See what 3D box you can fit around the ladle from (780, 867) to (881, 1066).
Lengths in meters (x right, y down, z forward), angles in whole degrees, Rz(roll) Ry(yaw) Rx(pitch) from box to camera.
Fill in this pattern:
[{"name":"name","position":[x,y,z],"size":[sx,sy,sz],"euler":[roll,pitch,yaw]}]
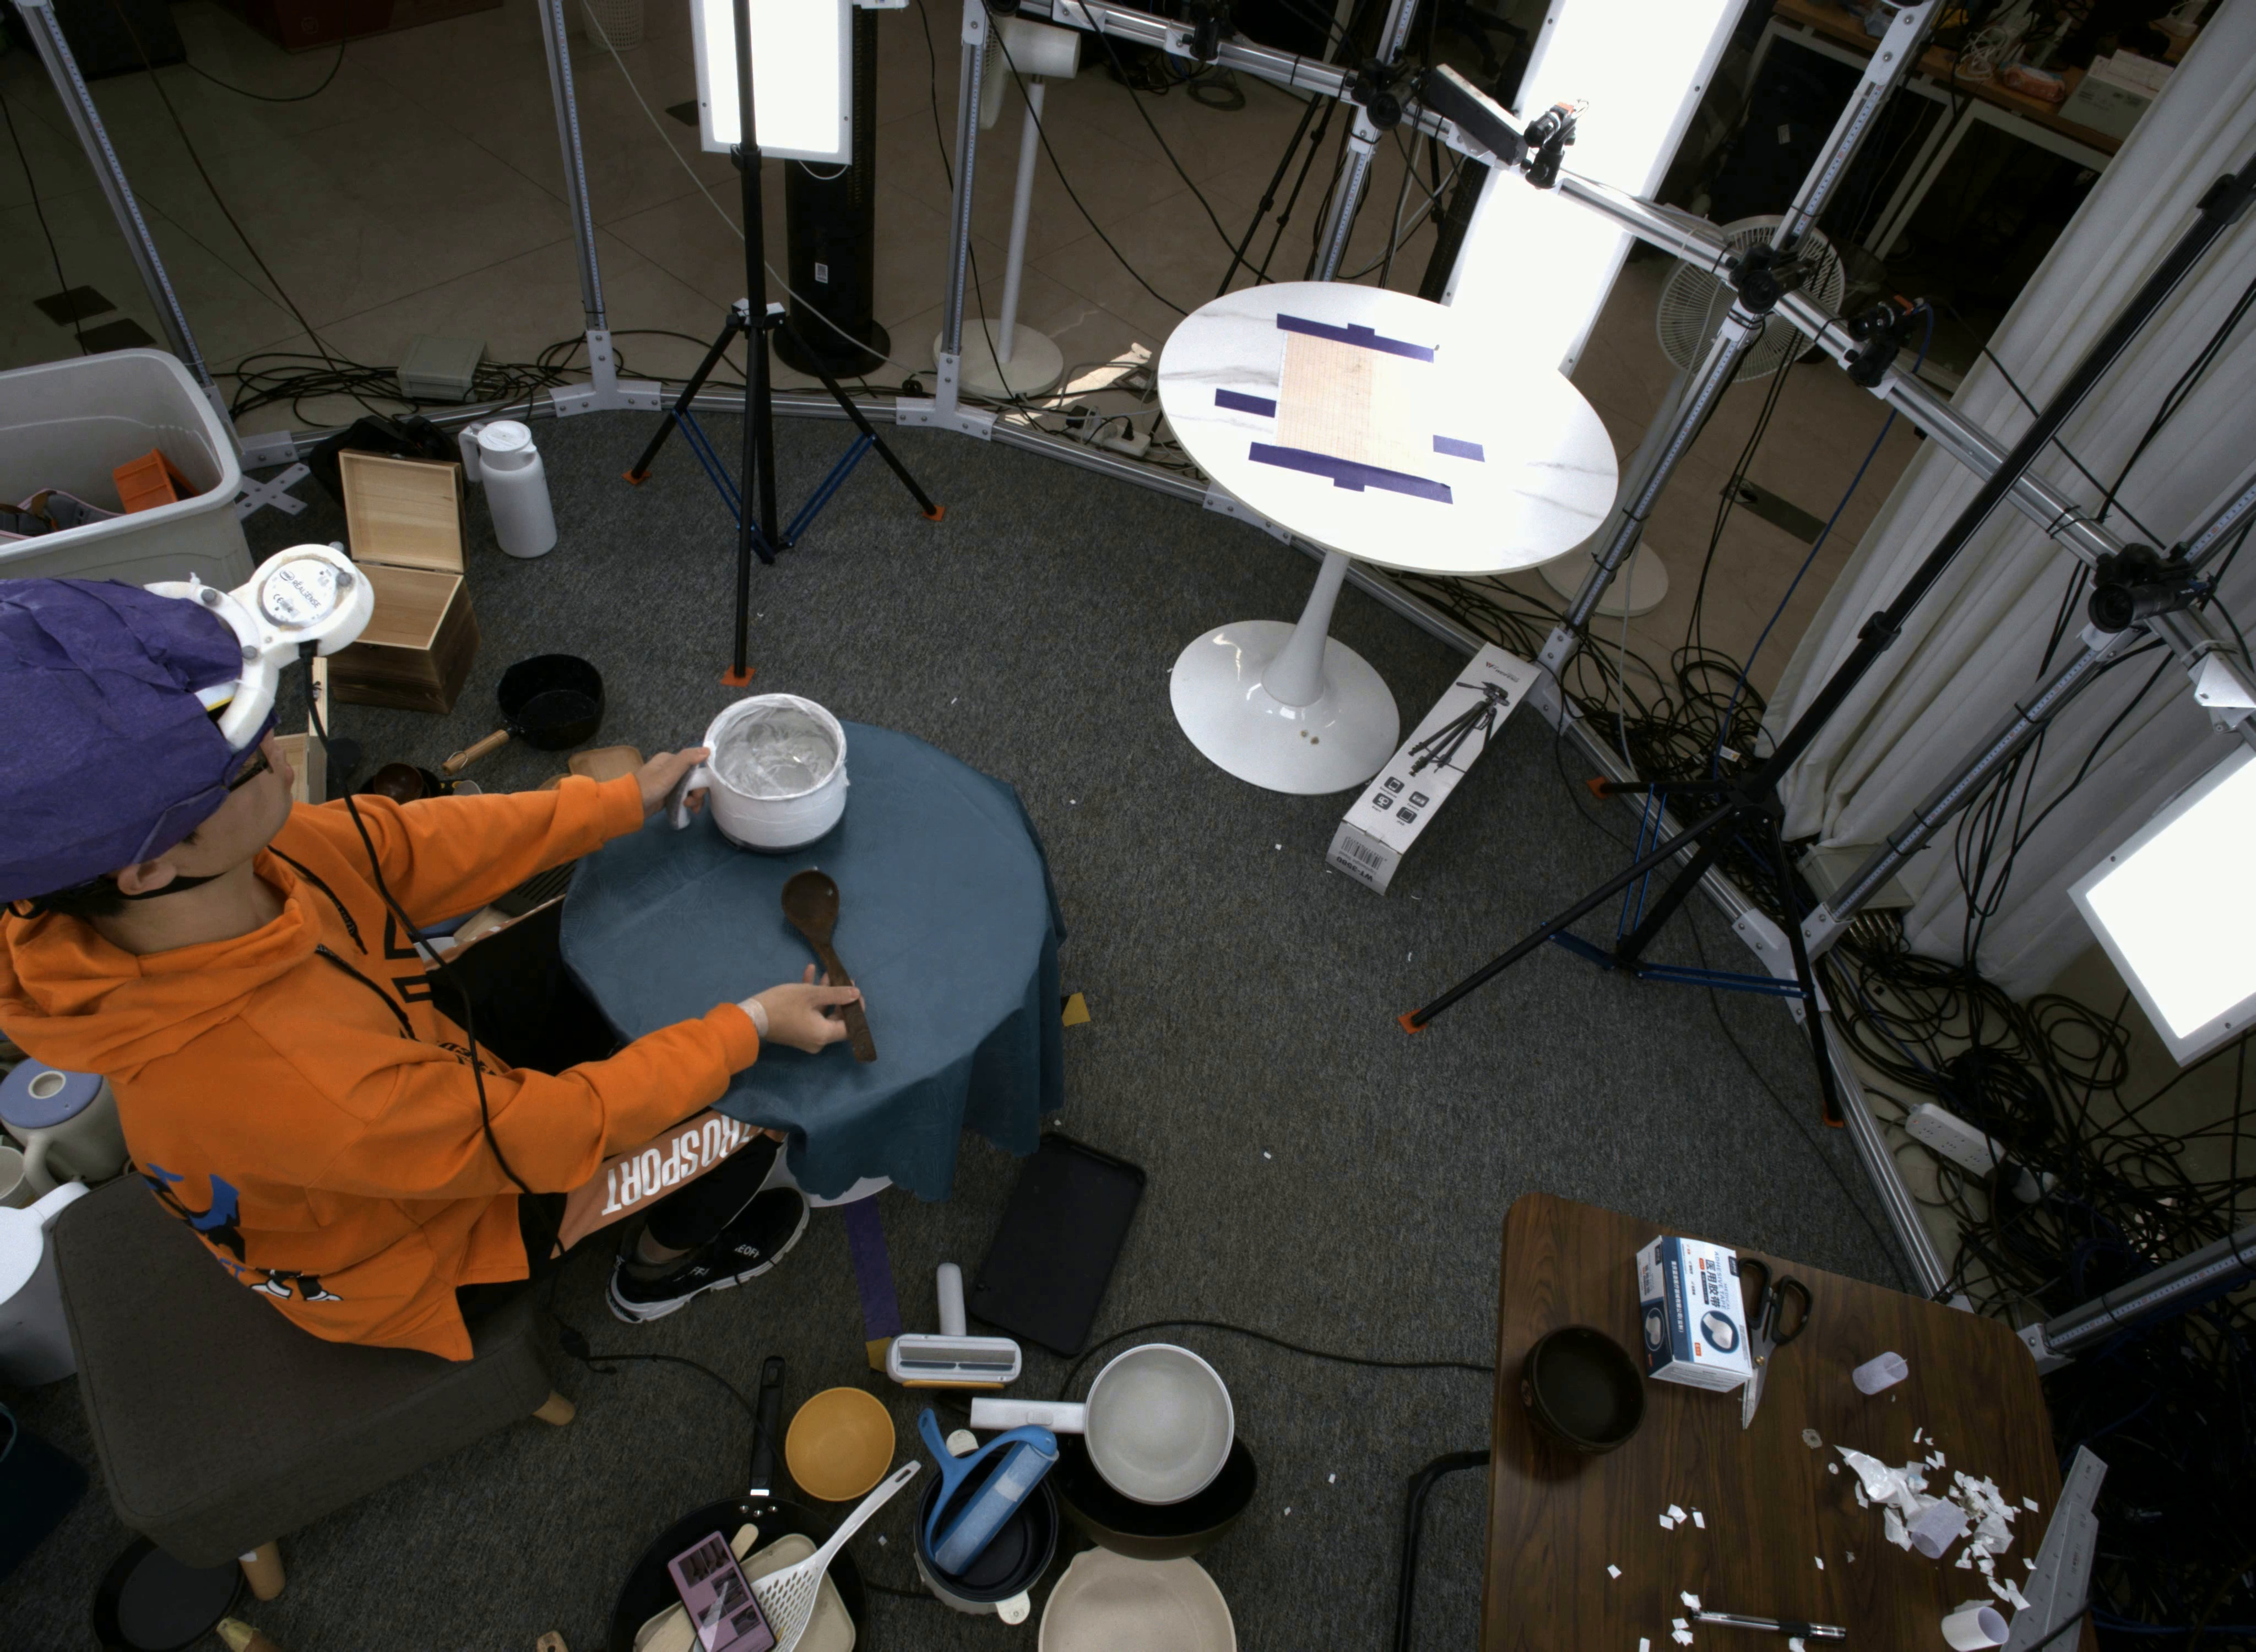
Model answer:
[{"name":"ladle","position":[-0.348,0.159,1.550],"size":[0.076,0.073,0.265],"euler":[-11,47,-27]}]

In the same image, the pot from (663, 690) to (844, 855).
[{"name":"pot","position":[-0.480,-0.059,1.653],"size":[0.235,0.139,0.174],"euler":[-15,57,-23]}]
